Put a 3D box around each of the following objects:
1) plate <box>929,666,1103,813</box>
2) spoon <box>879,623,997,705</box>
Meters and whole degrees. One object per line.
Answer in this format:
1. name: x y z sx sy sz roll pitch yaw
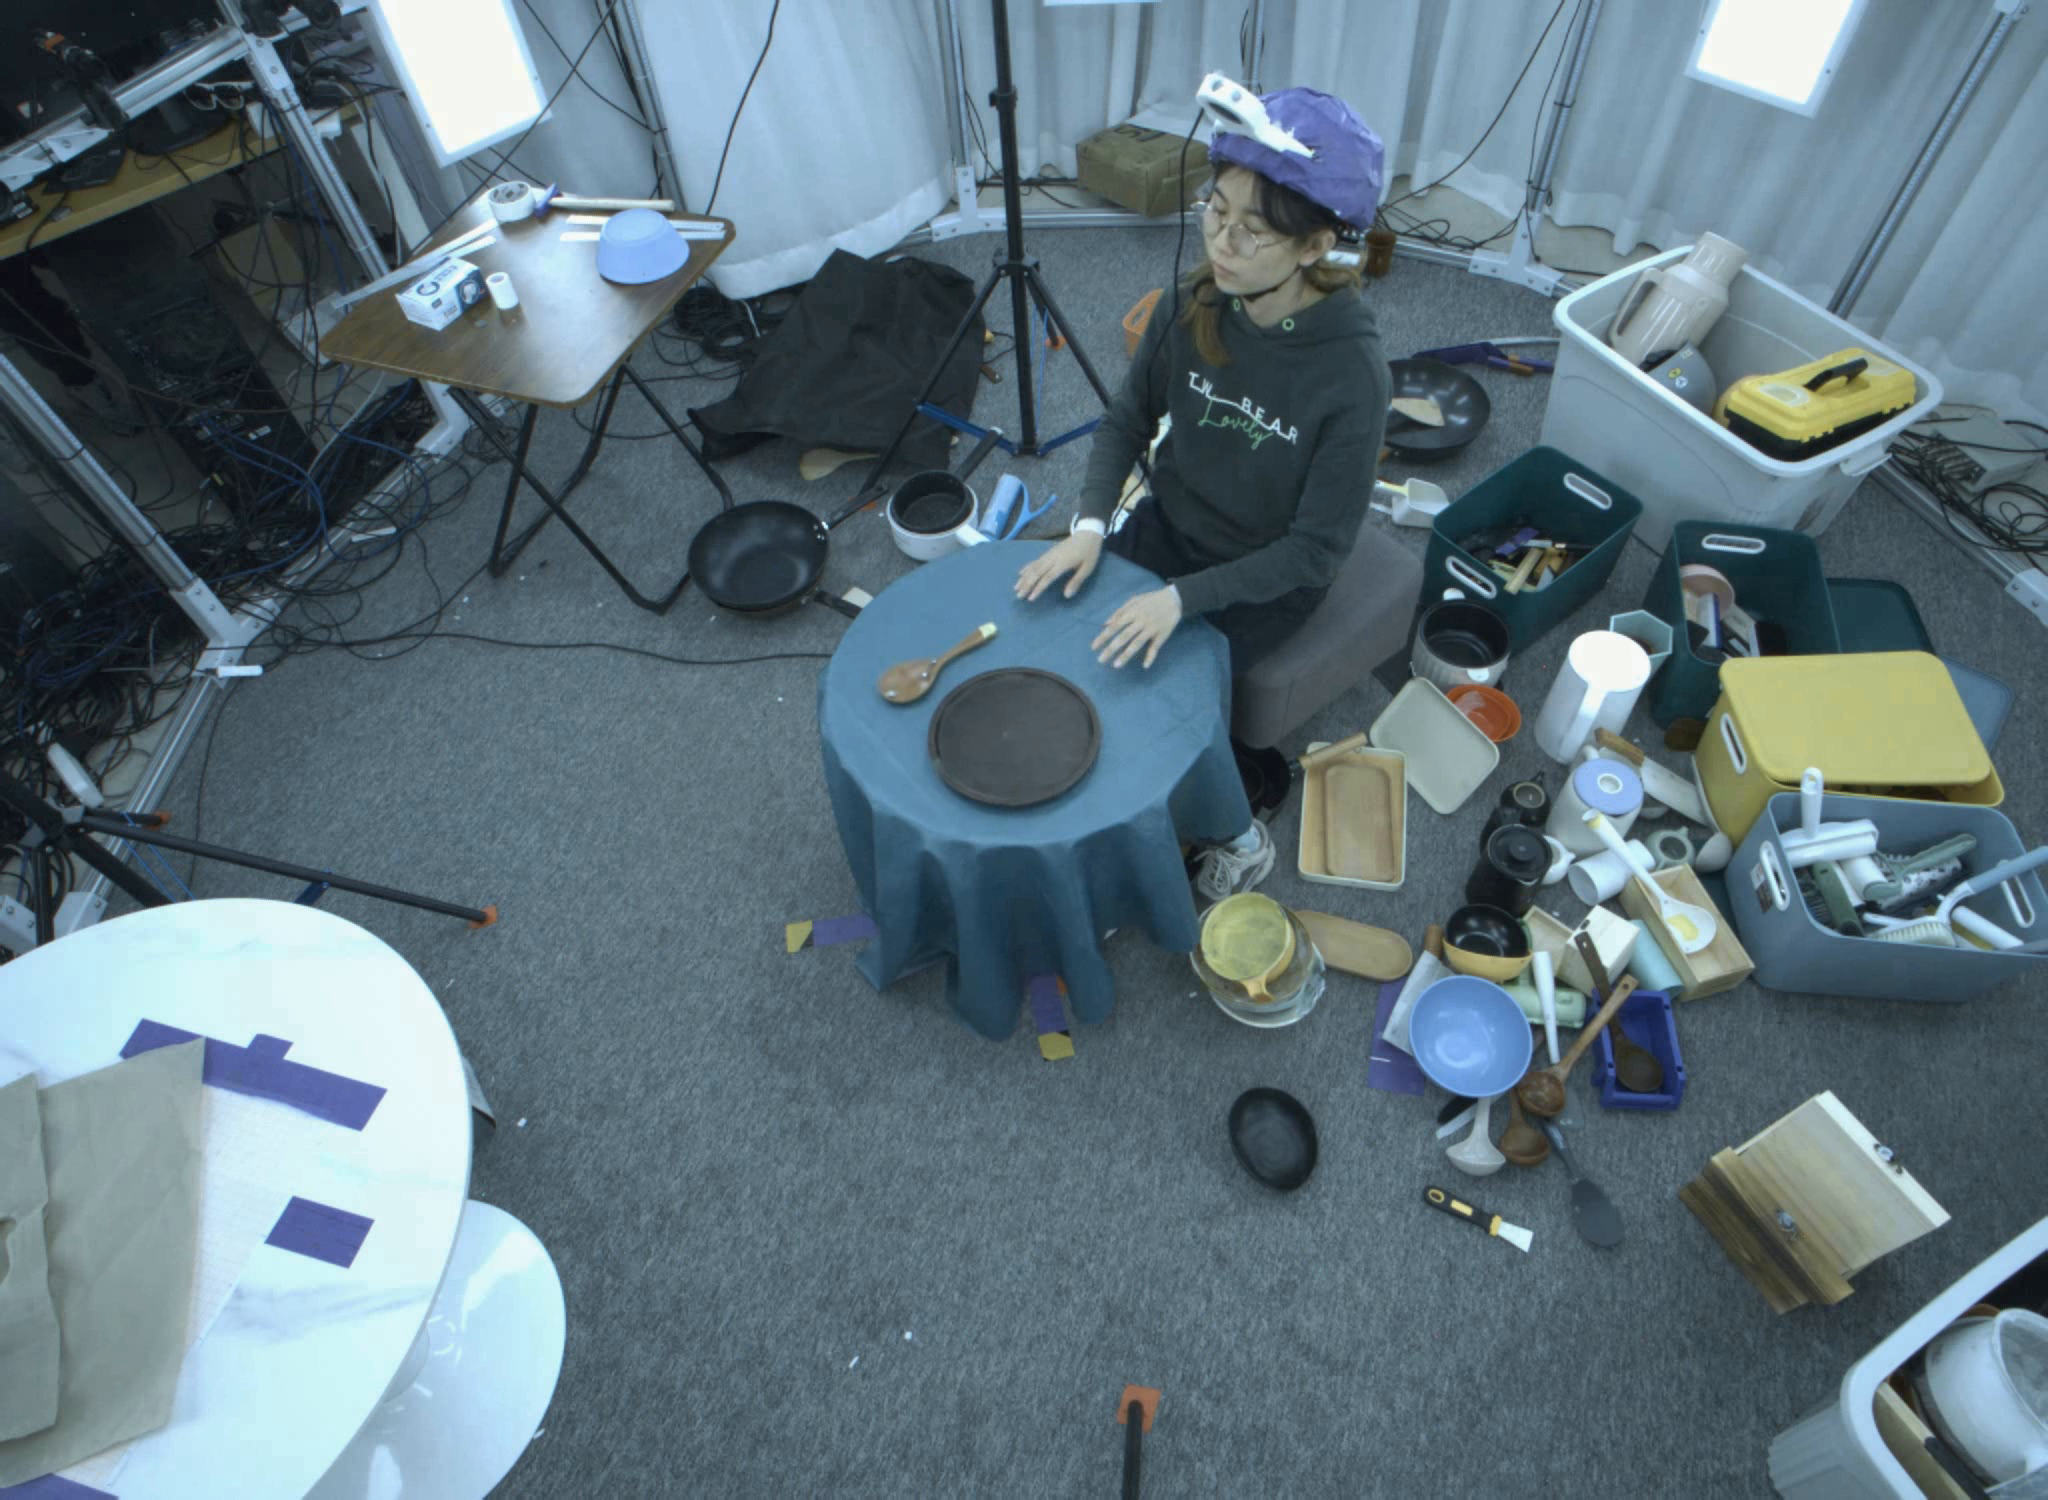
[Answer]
1. plate: -0.012 -0.014 1.795 0.254 0.029 0.252 0 56 2
2. spoon: -0.129 -0.133 1.886 0.217 0.017 0.074 -35 61 -21
